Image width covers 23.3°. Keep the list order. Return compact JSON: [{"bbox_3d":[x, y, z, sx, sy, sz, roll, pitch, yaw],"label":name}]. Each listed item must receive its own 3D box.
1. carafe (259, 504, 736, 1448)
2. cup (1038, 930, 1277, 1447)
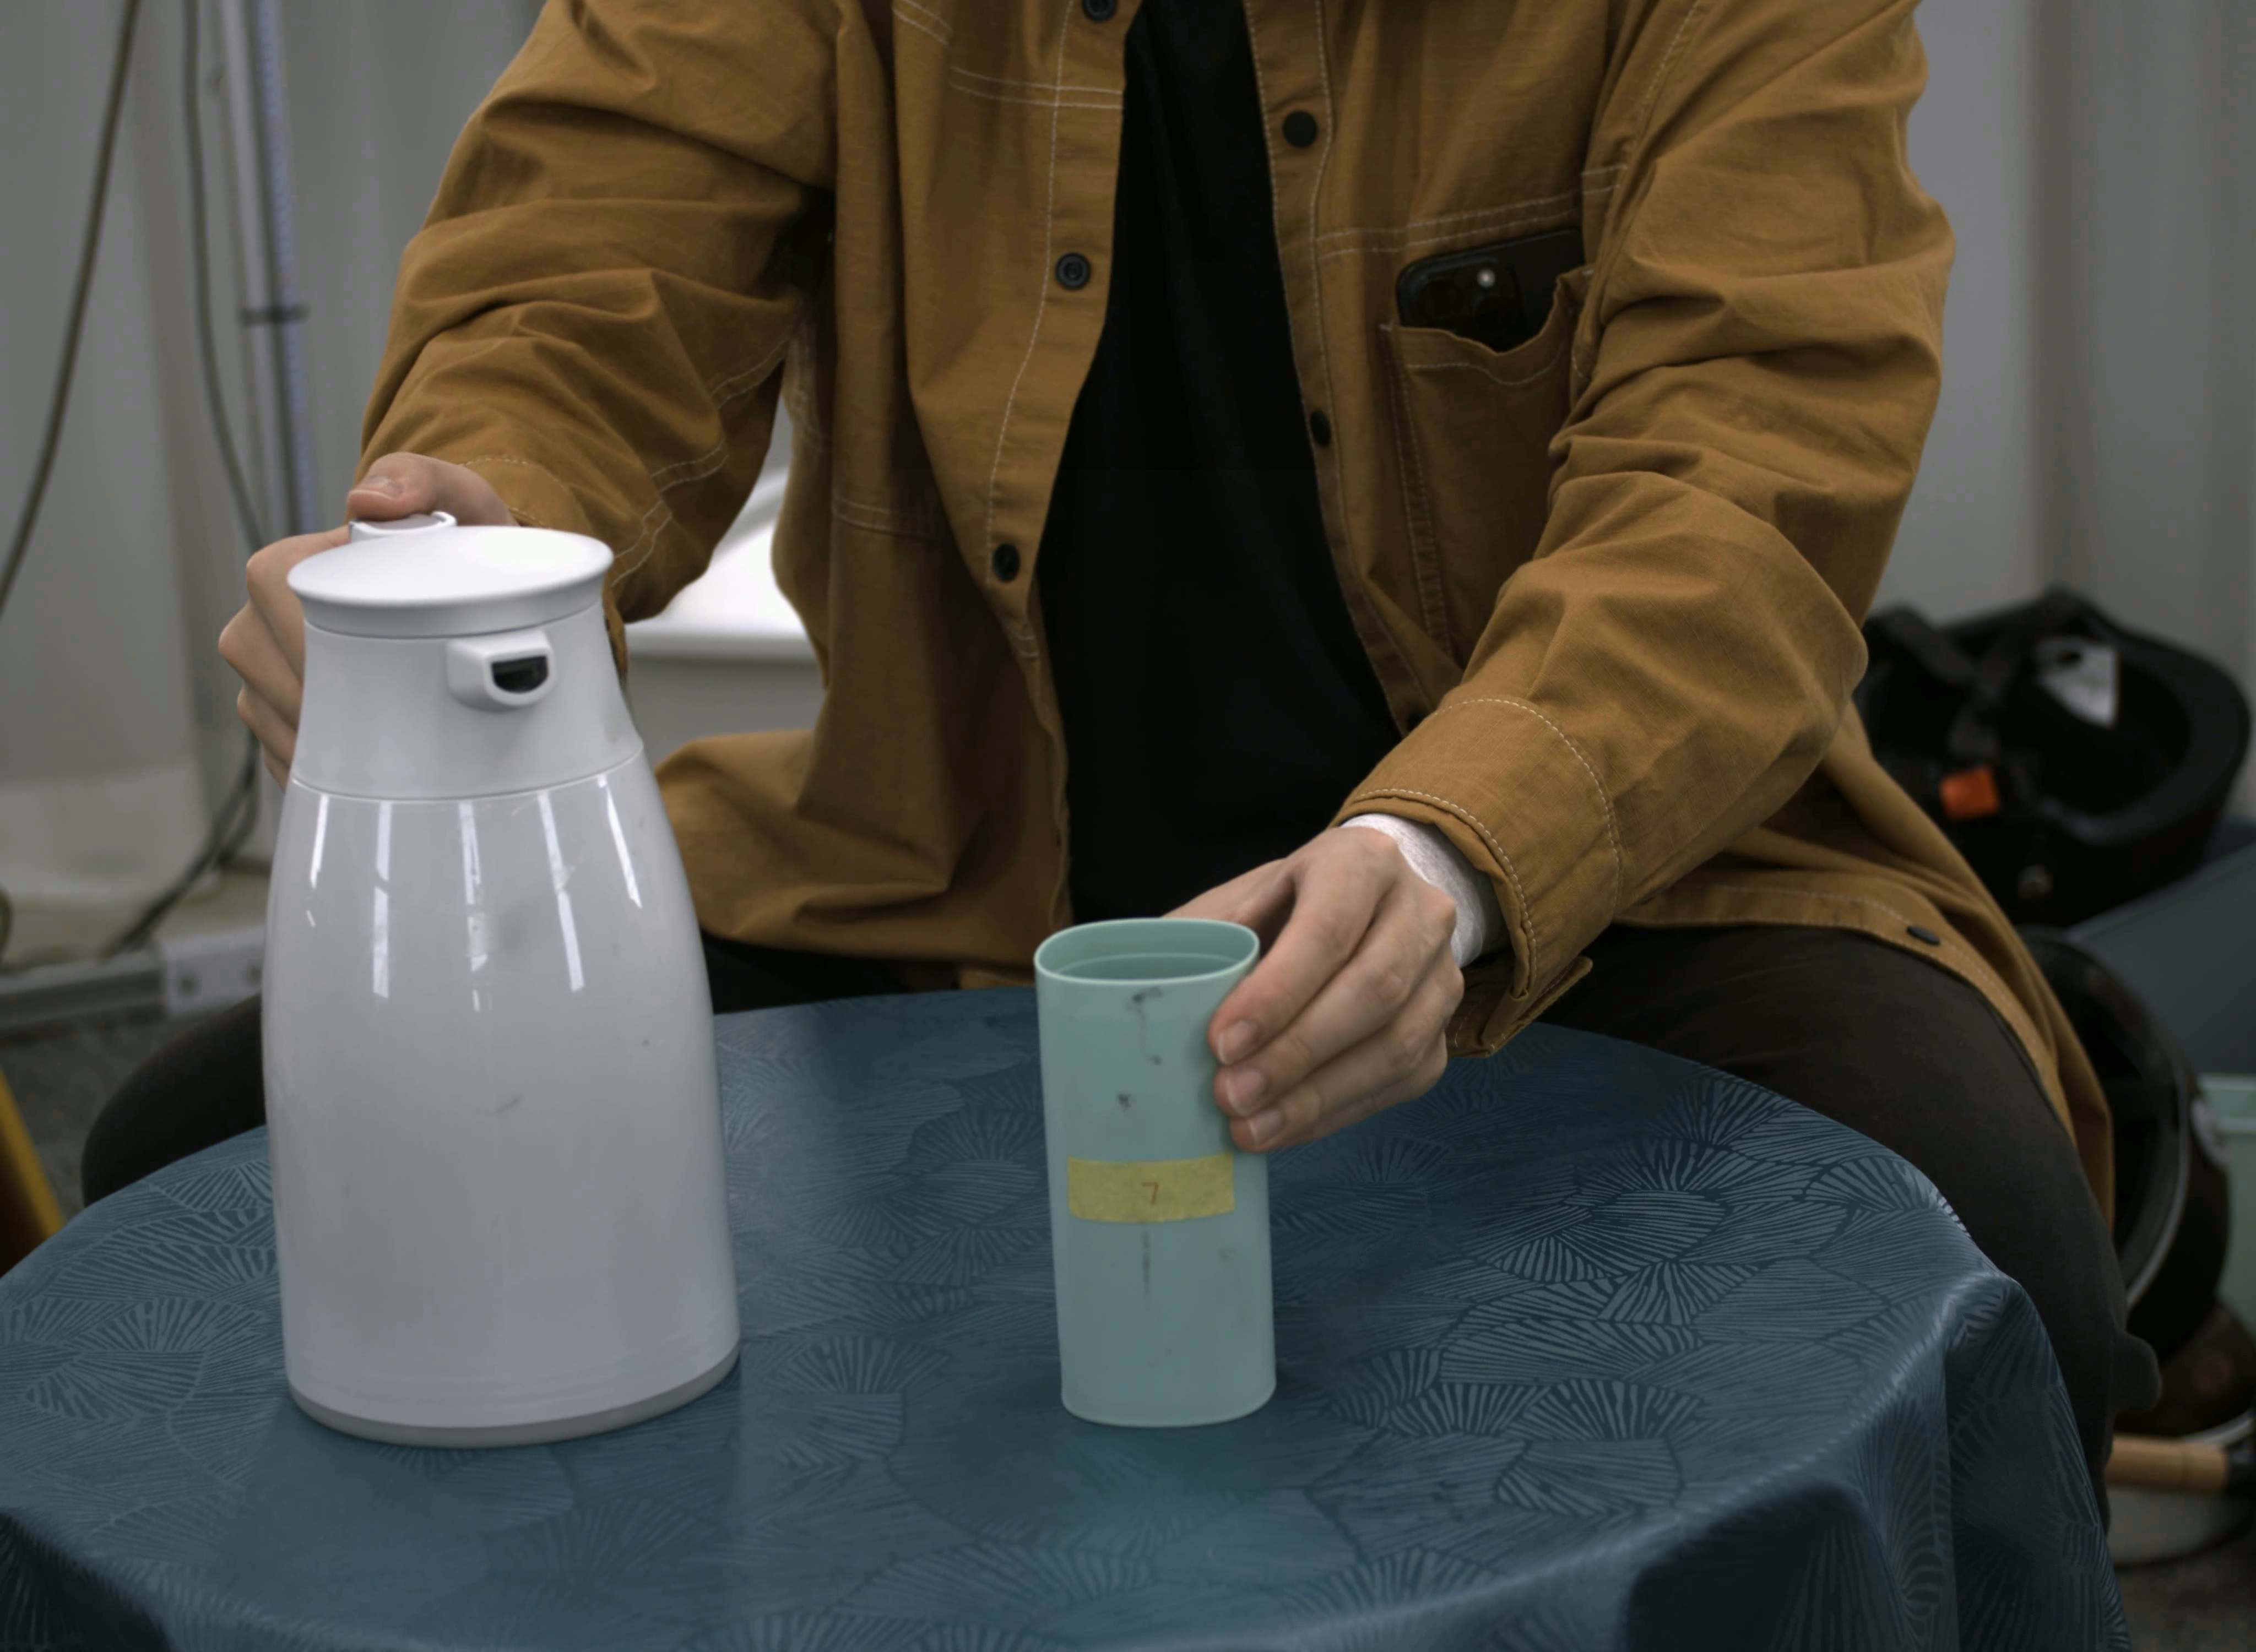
[{"bbox_3d":[-0.193,0.034,1.576,0.132,0.248,0.169,-9,14,-23],"label":"carafe"},{"bbox_3d":[0.009,0.100,1.528,0.066,0.132,0.067,-2,14,0],"label":"cup"}]
